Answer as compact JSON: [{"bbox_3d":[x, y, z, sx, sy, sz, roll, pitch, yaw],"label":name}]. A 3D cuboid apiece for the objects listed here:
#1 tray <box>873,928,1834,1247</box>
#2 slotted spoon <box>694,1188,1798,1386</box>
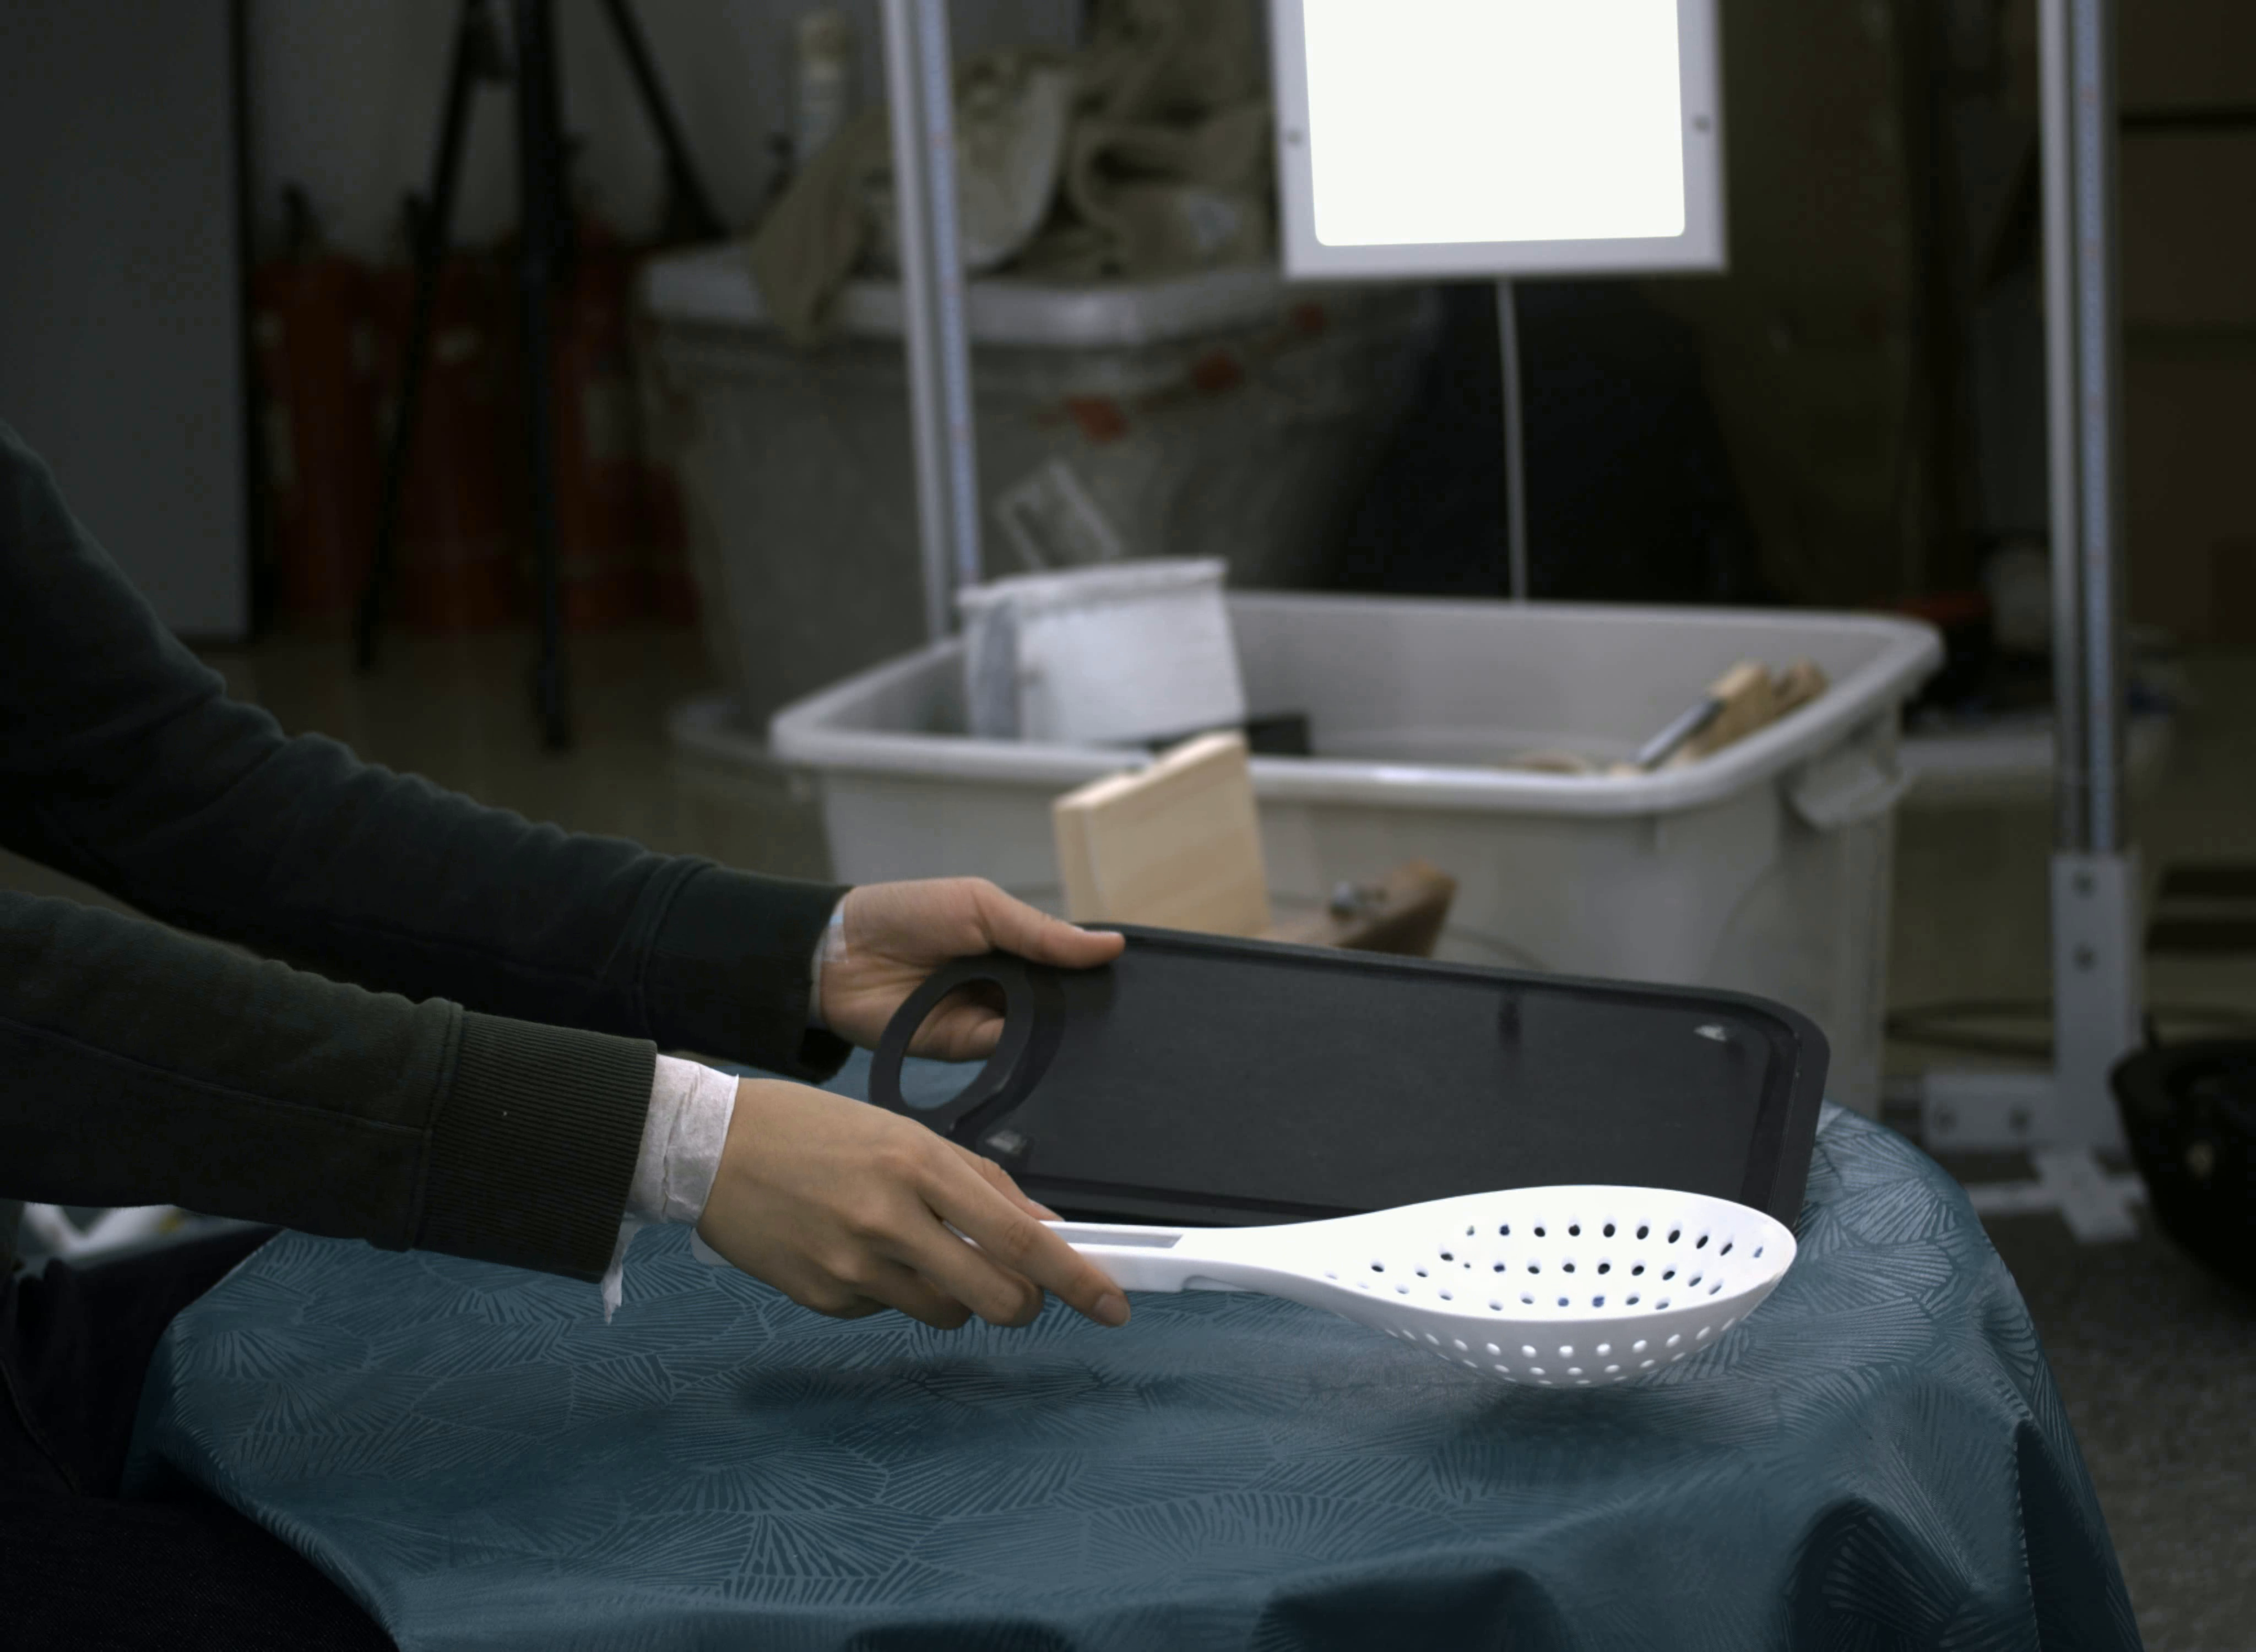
[{"bbox_3d":[0.075,0.088,1.880,0.327,0.010,0.208,6,24,12],"label":"tray"},{"bbox_3d":[0.032,0.132,1.695,0.354,0.046,0.134,6,14,18],"label":"slotted spoon"}]
